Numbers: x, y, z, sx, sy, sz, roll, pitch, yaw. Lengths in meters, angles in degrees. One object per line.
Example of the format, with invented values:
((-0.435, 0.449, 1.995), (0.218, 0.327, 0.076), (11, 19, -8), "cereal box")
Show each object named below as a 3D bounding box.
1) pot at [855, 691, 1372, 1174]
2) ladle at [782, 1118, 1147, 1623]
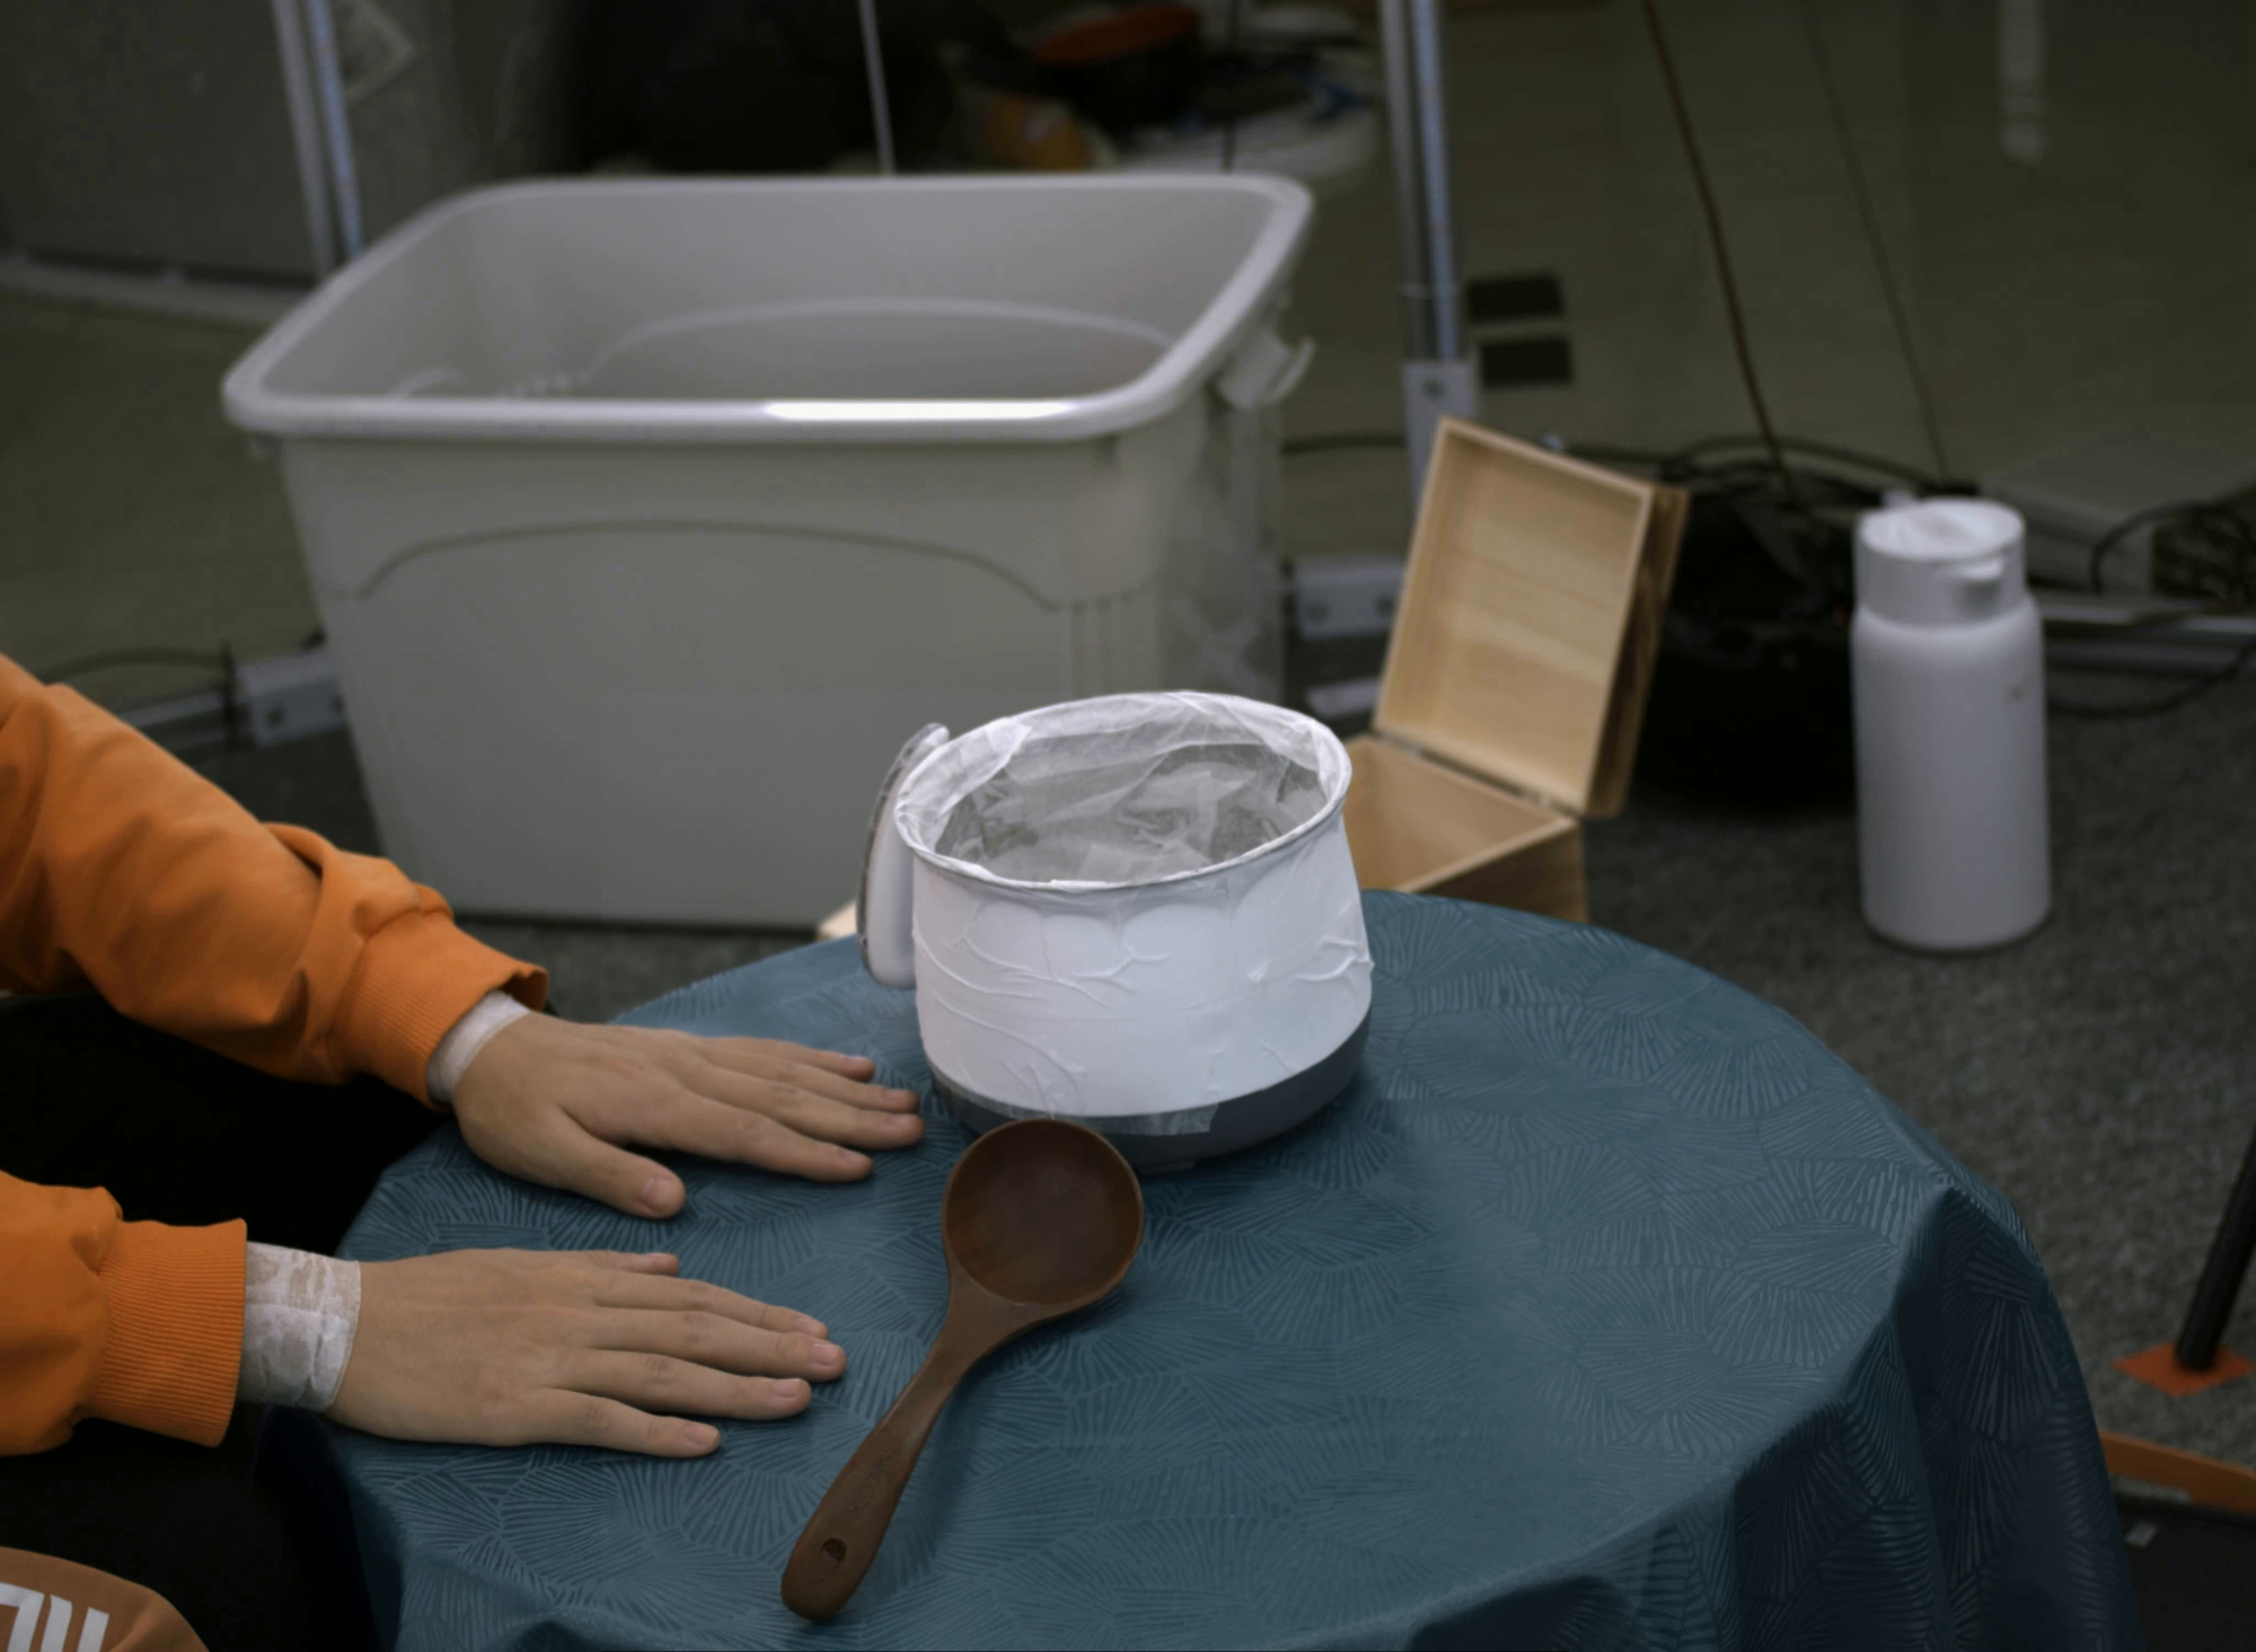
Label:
((-0.017, 0.036, 2.206), (0.232, 0.139, 0.177), (15, 32, 37), "pot")
((-0.062, 0.186, 1.988), (0.076, 0.066, 0.256), (22, 31, 9), "ladle")
